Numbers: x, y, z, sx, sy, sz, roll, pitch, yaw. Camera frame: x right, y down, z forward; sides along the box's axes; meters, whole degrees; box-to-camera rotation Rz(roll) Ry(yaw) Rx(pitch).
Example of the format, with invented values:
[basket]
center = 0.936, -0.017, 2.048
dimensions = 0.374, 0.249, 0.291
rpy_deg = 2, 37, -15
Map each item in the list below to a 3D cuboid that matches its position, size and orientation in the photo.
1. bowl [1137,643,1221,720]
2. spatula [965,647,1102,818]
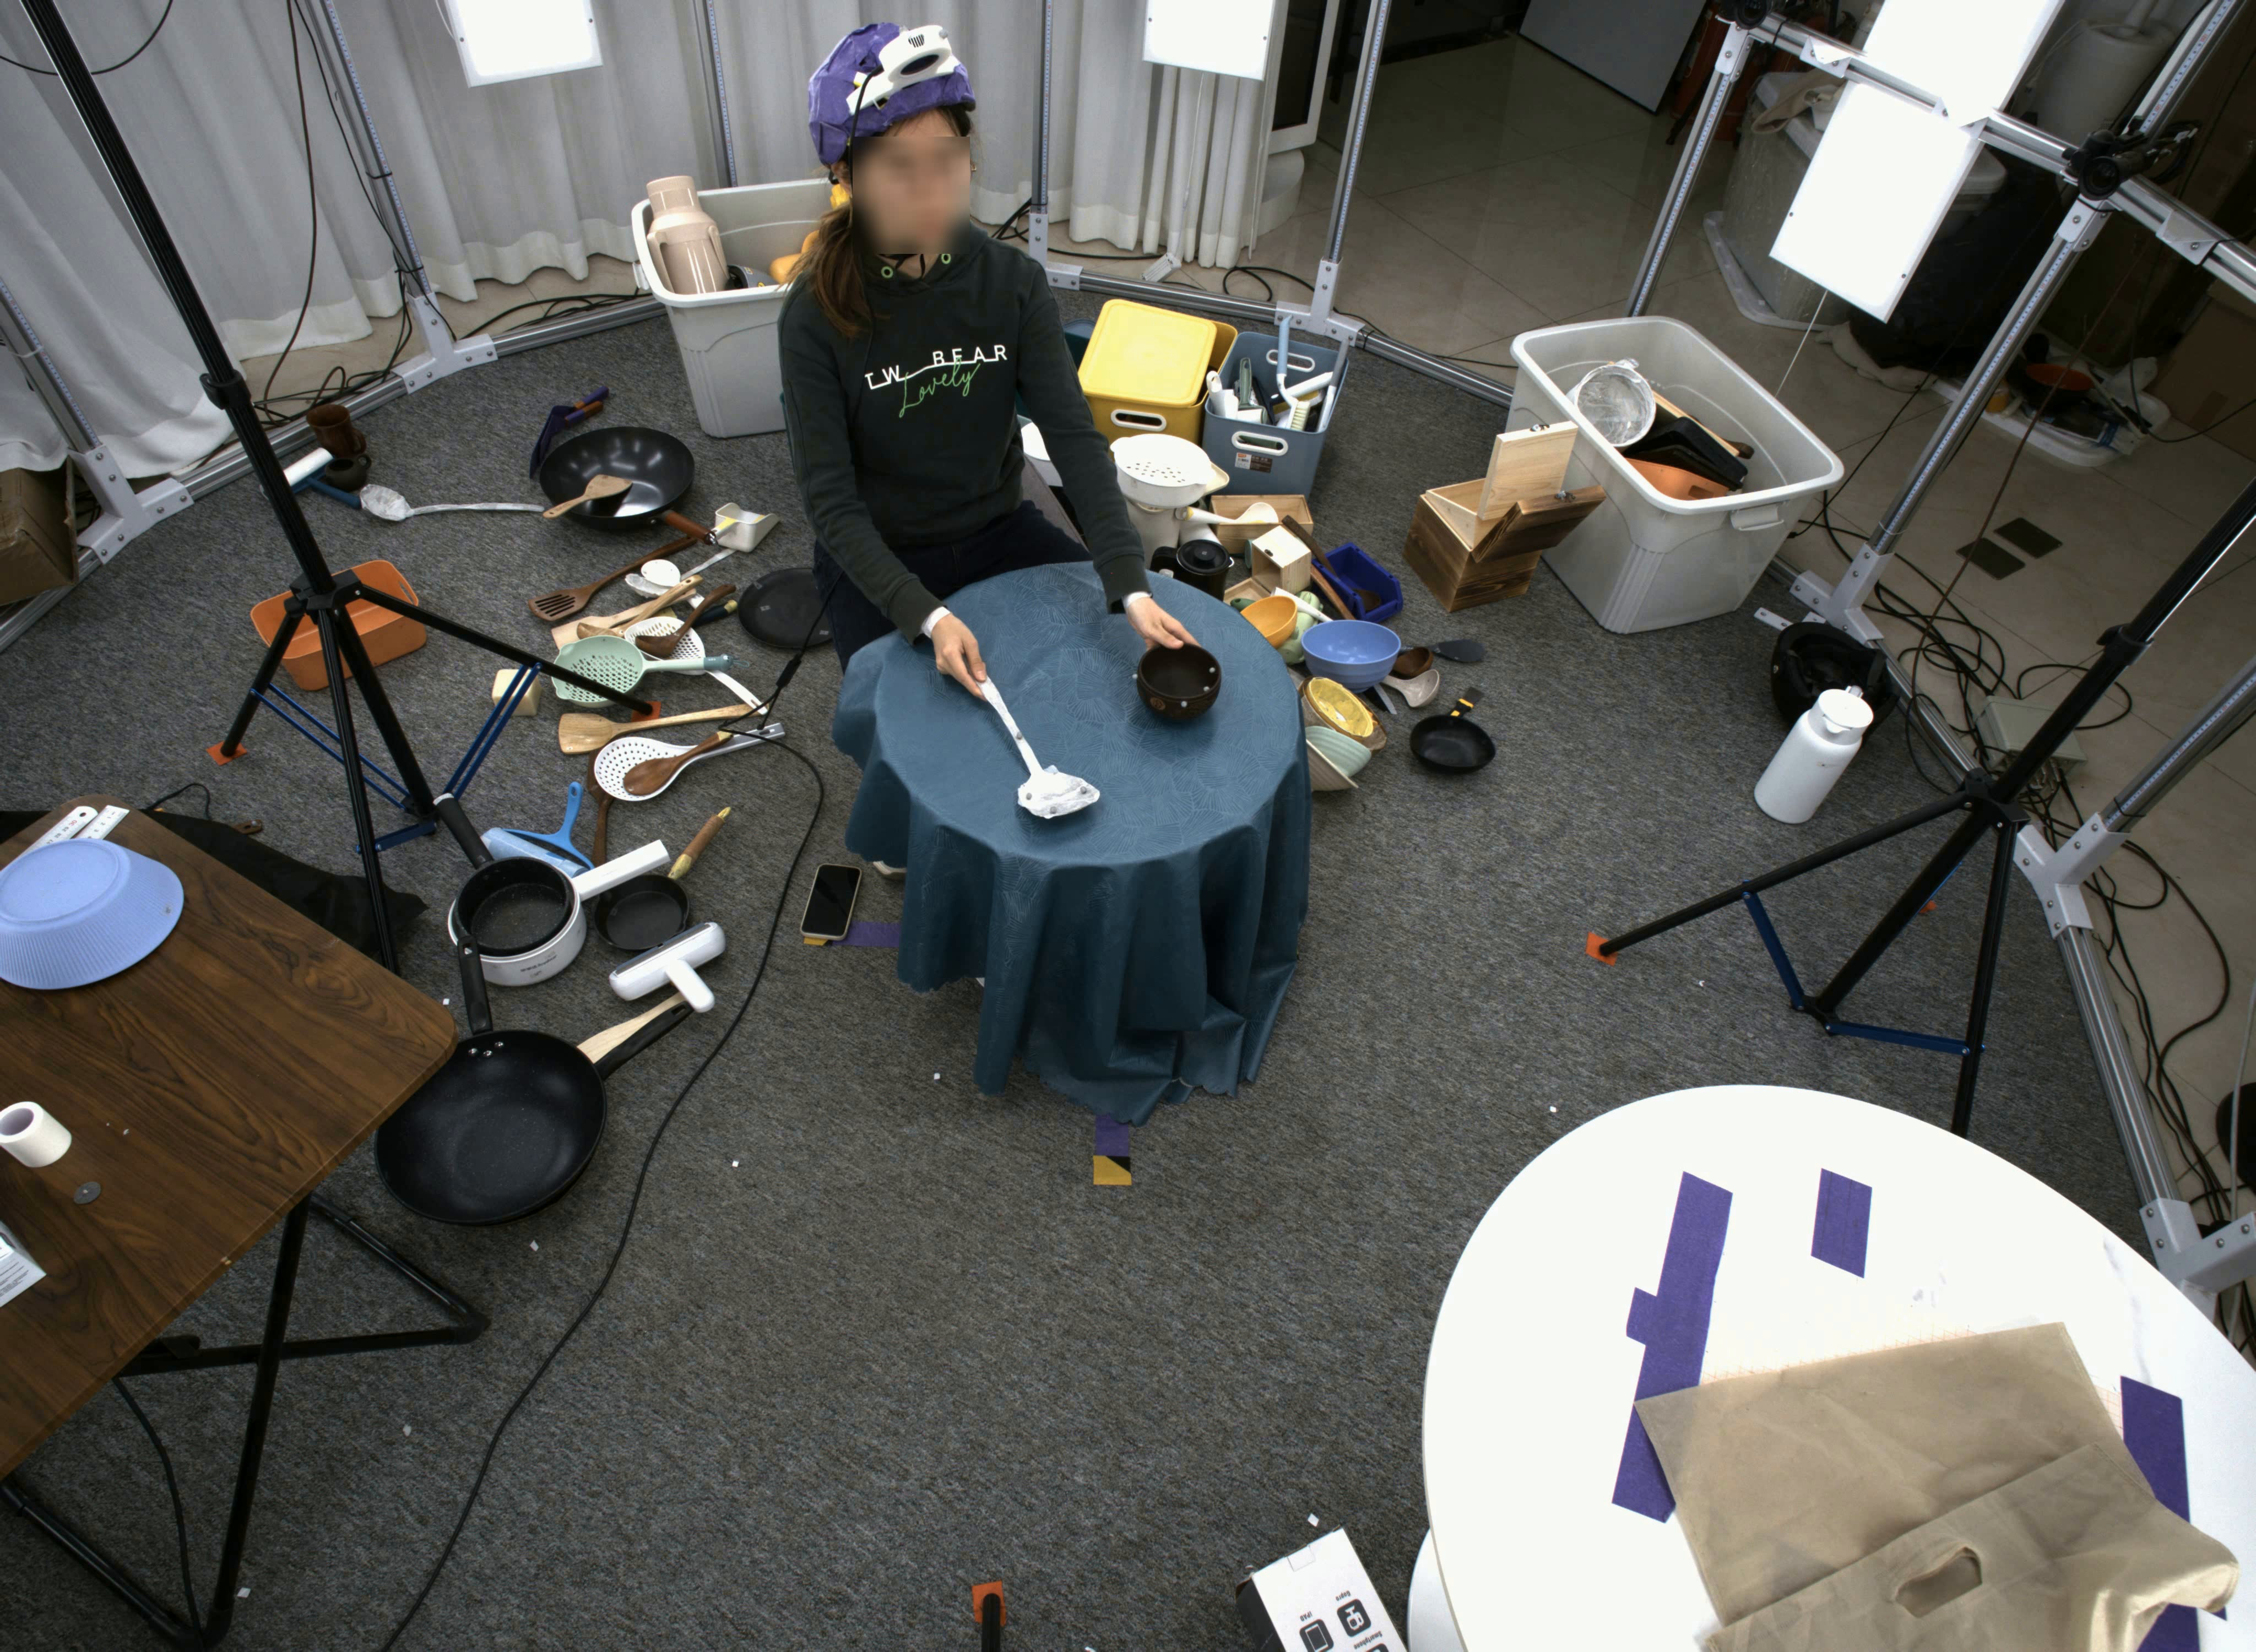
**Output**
[bowl]
center = 0.070, -0.195, 1.812
dimensions = 0.118, 0.068, 0.121
rpy_deg = 3, 47, -3
[spatula]
center = -0.153, -0.139, 1.763
dimensions = 0.099, 0.044, 0.373
rpy_deg = -19, 56, -20
